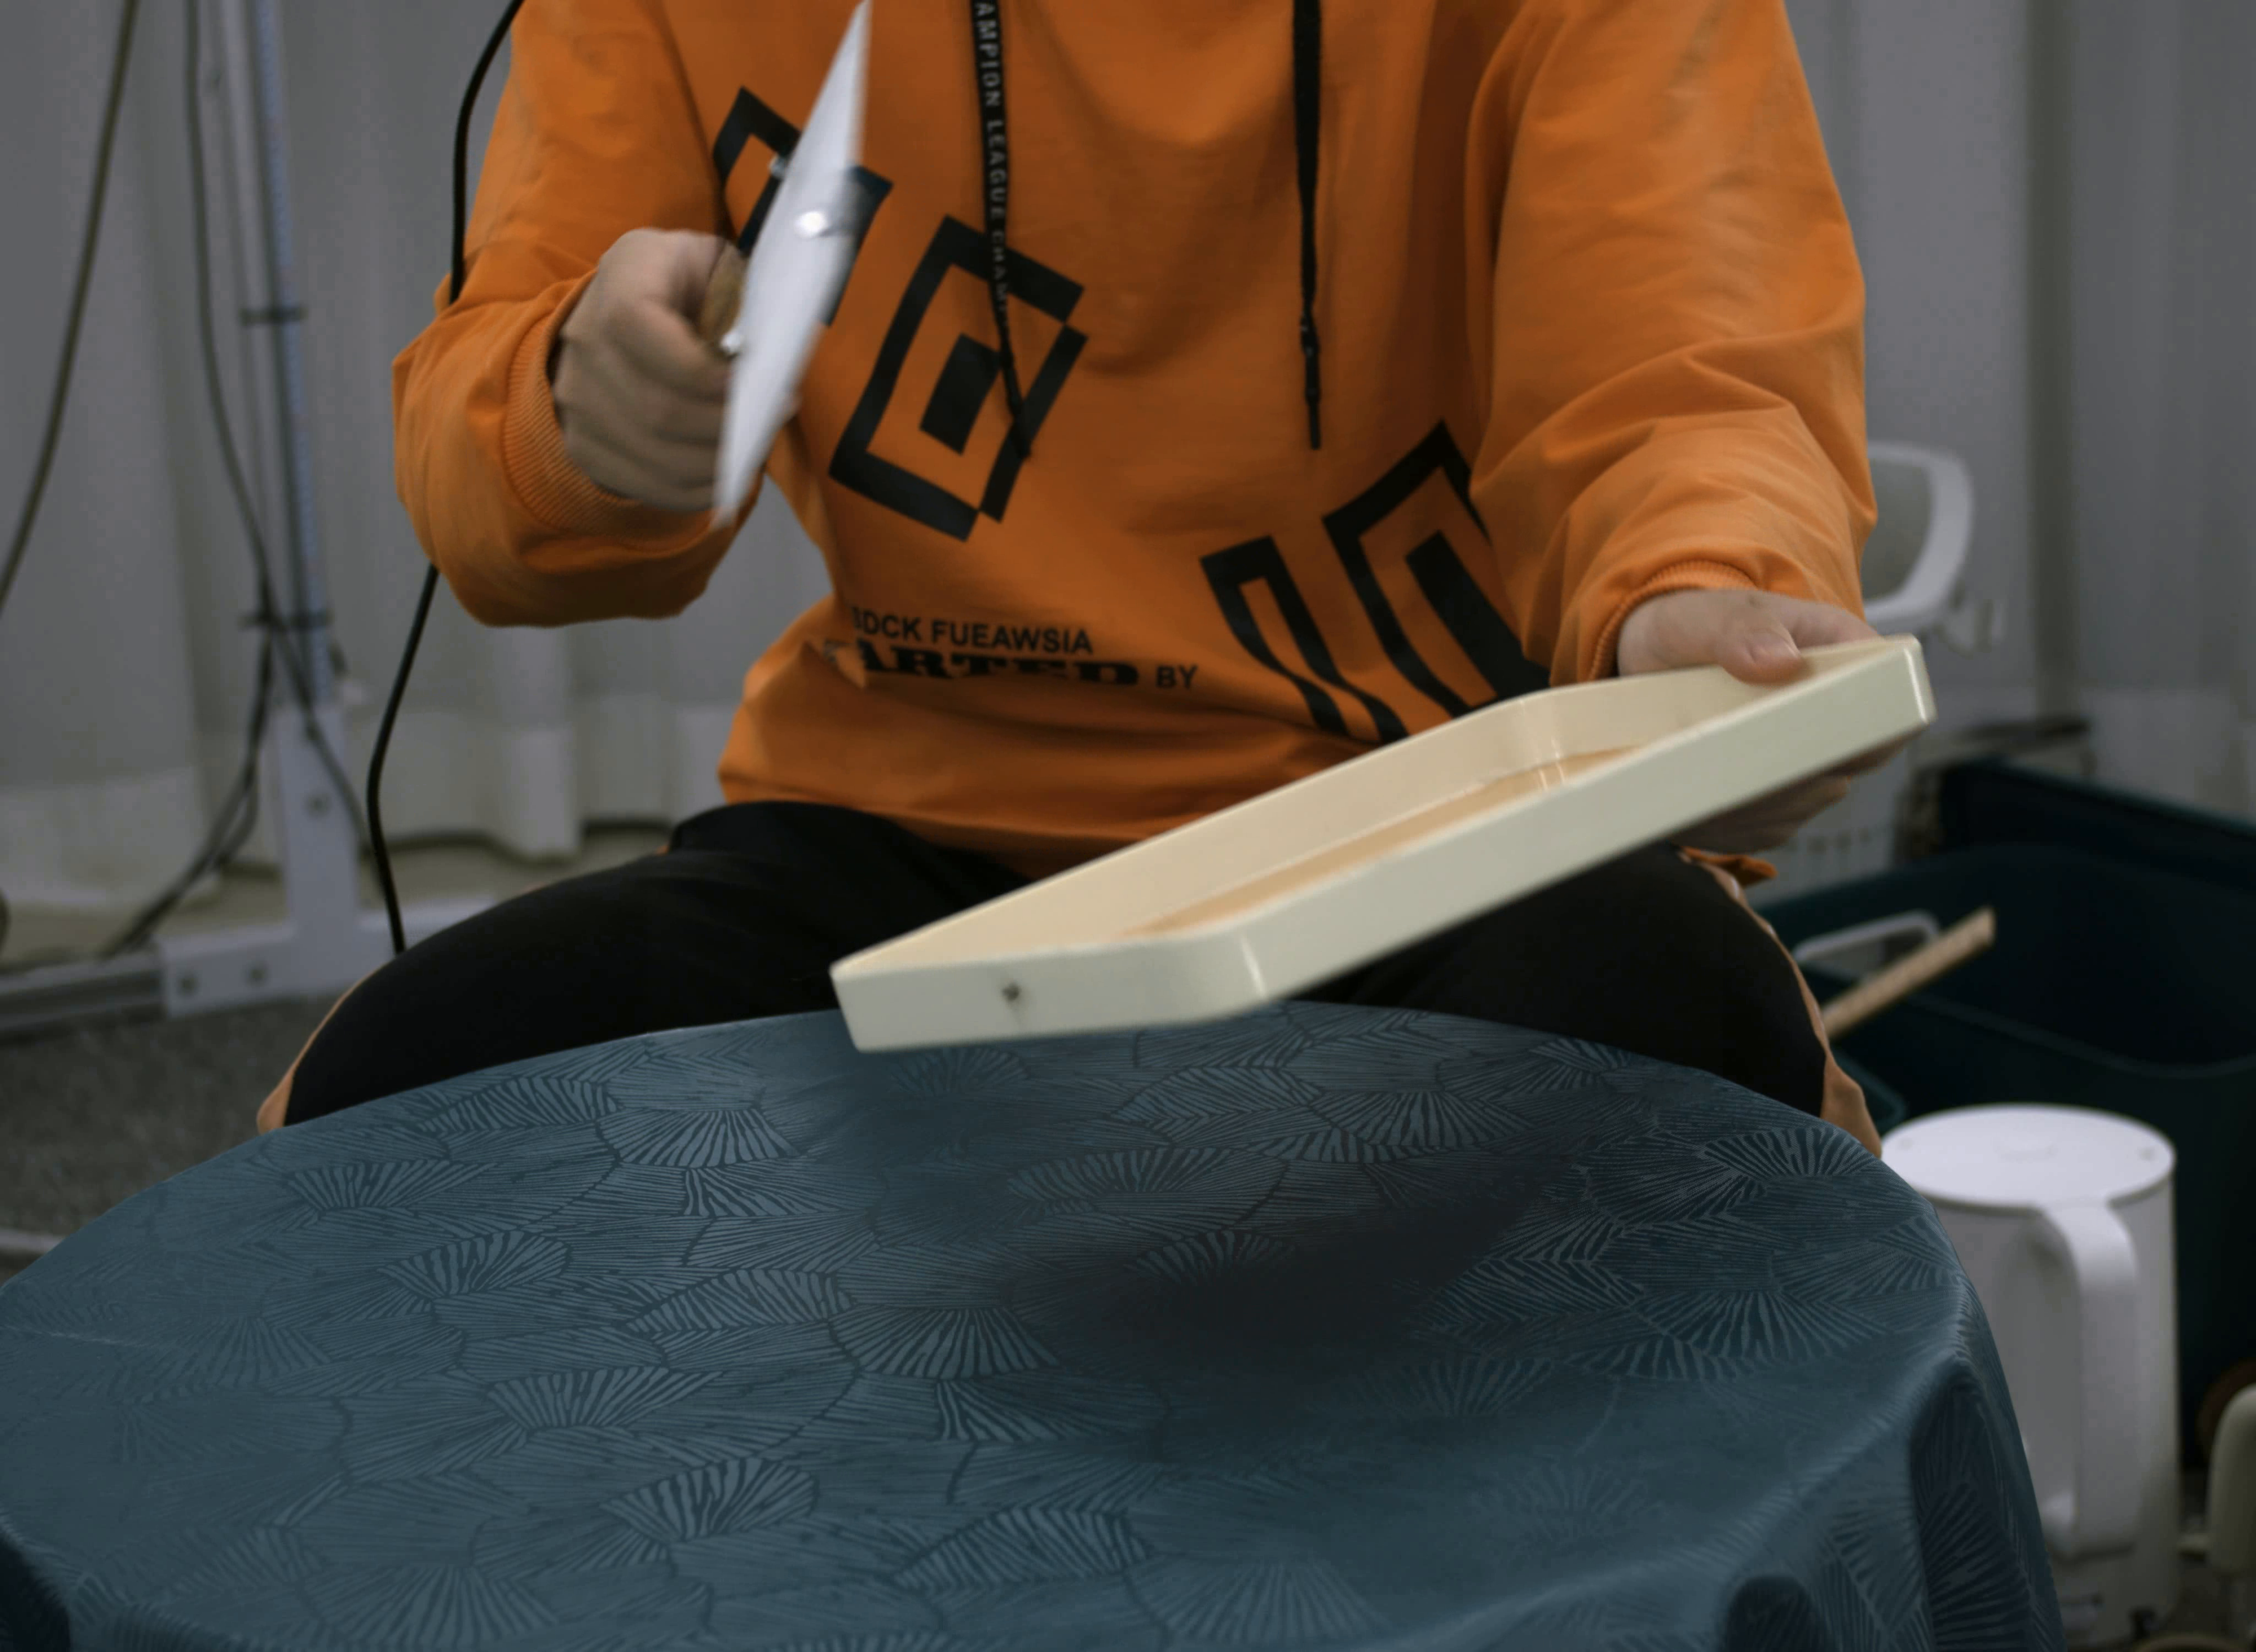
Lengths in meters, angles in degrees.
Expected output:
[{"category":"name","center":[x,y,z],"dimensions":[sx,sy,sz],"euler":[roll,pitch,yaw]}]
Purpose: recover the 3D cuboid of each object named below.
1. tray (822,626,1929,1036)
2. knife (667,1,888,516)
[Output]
[{"category":"tray","center":[0.075,0.002,1.612],"dimensions":[0.300,0.027,0.192],"euler":[-21,8,-36]},{"category":"knife","center":[-0.108,-0.151,1.692],"dimensions":[0.021,0.094,0.303],"euler":[5,-21,-14]}]
